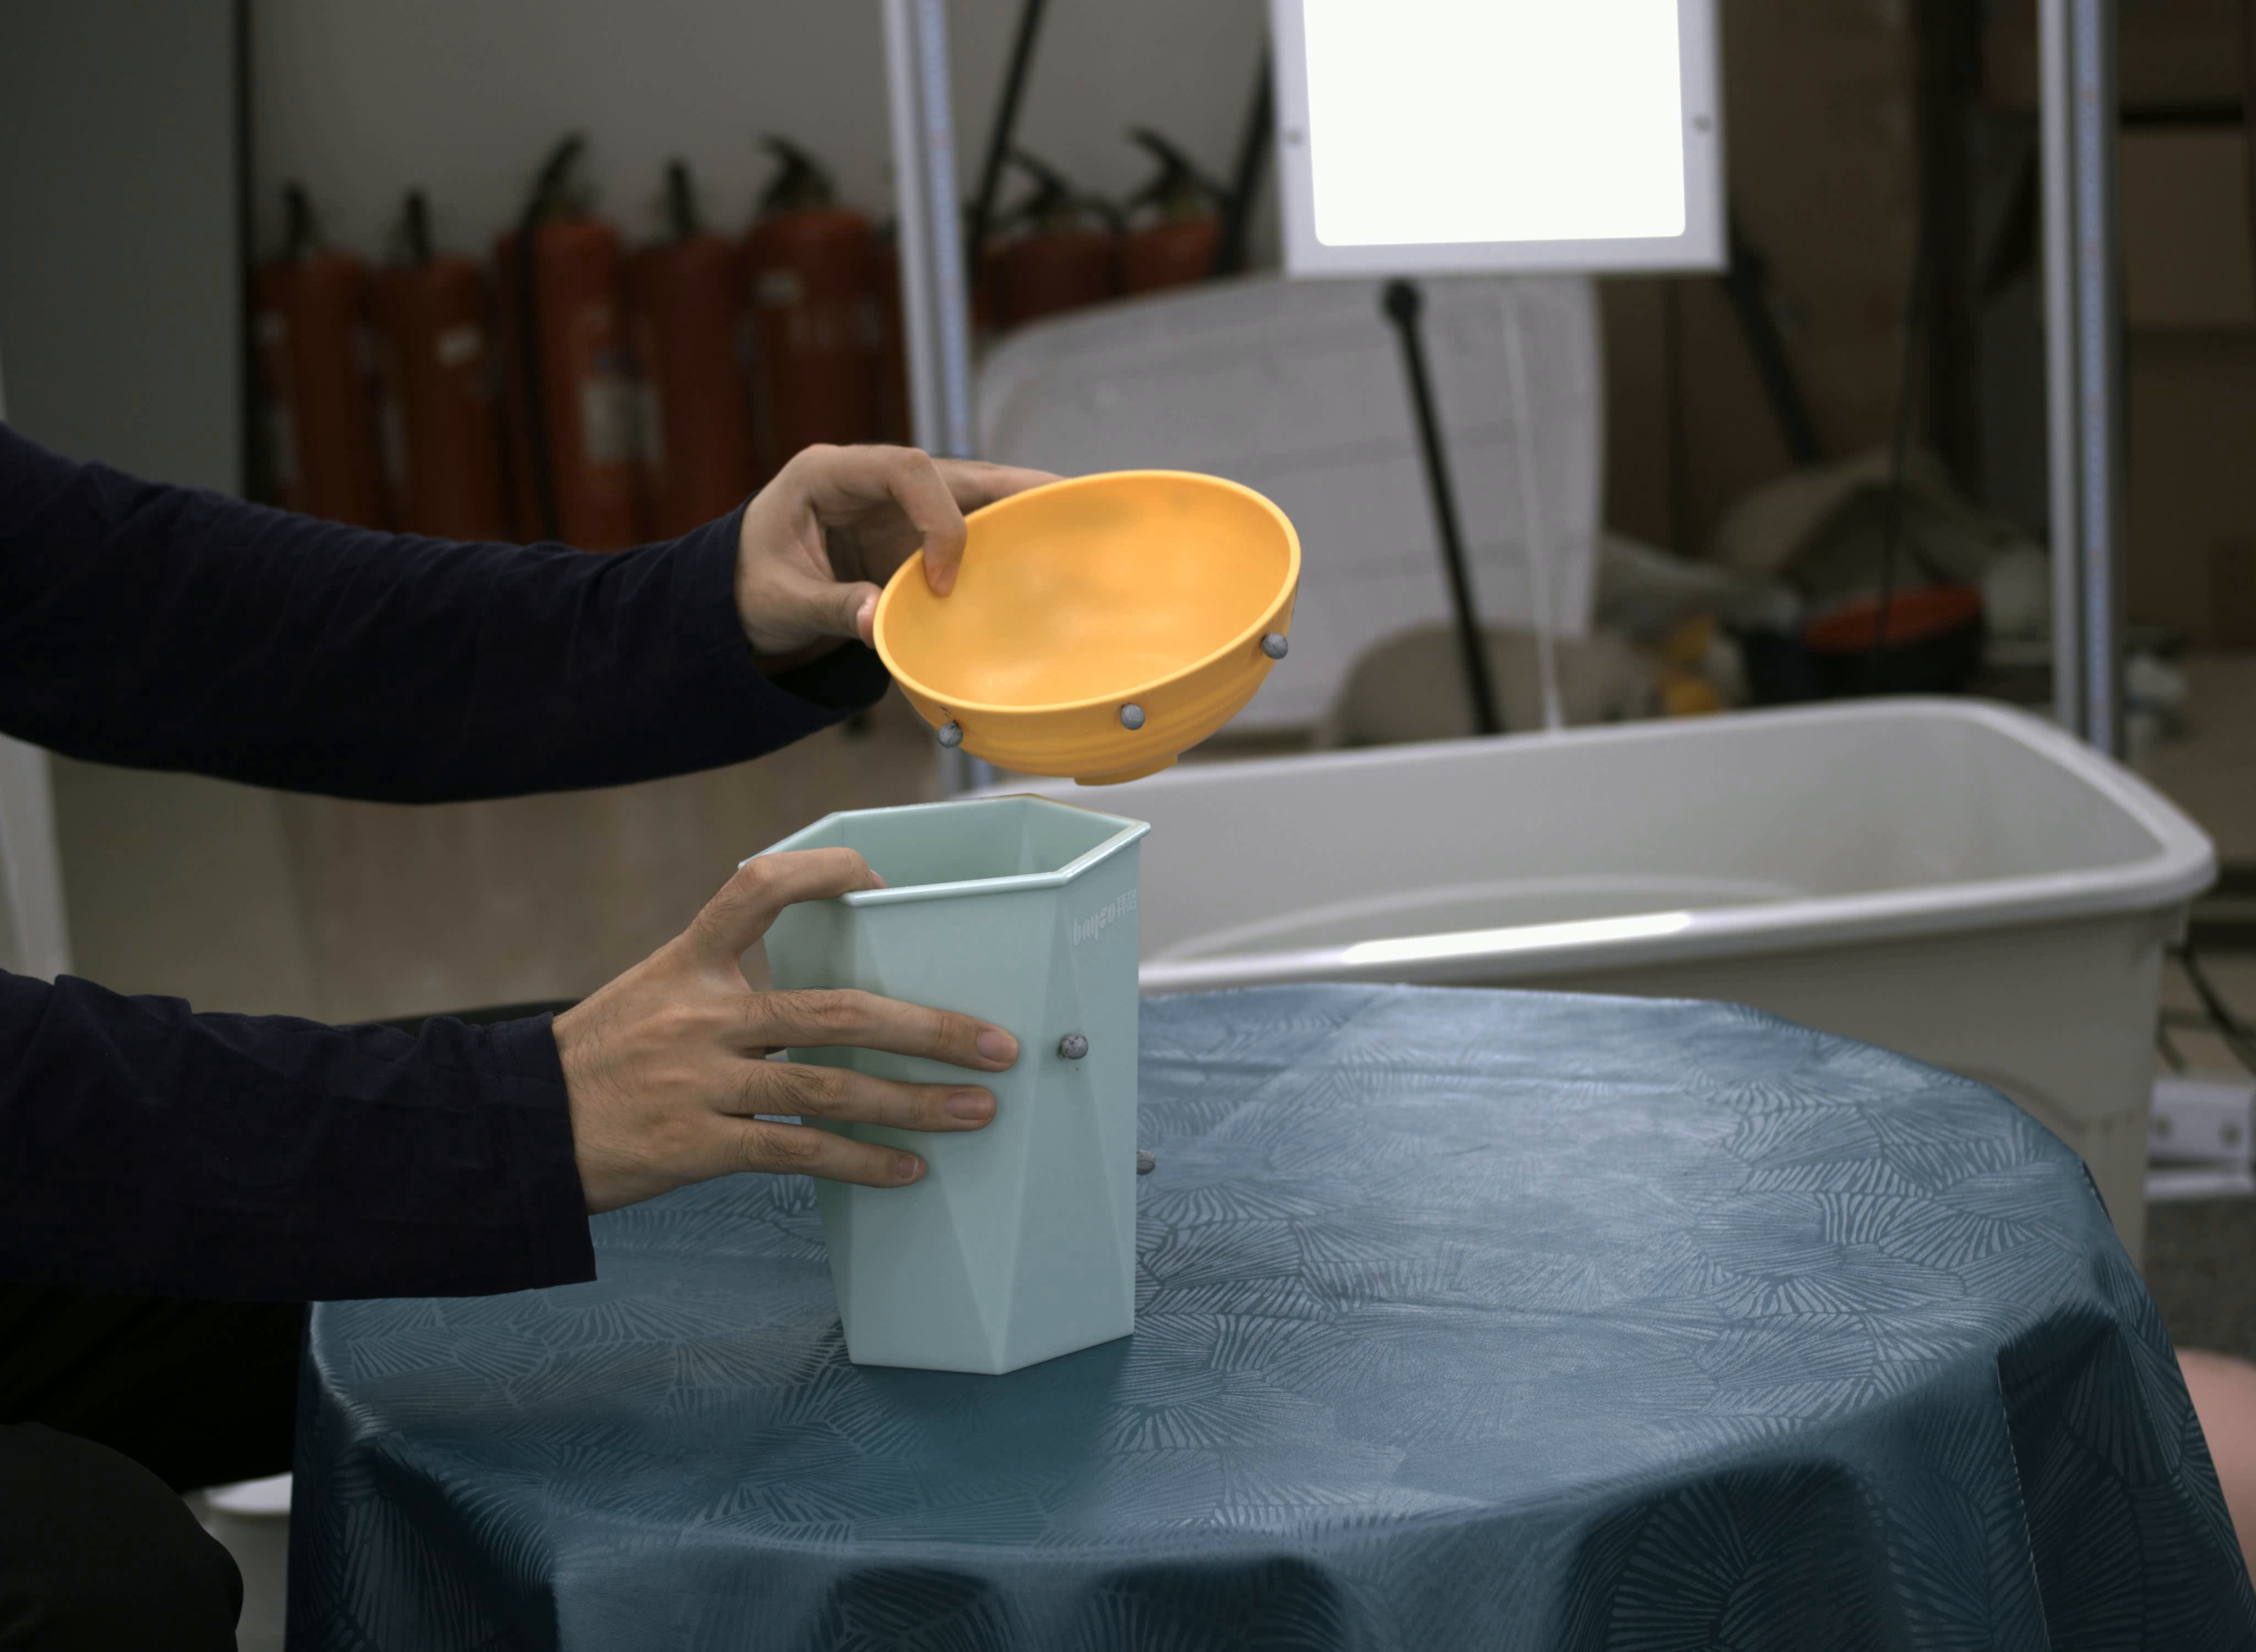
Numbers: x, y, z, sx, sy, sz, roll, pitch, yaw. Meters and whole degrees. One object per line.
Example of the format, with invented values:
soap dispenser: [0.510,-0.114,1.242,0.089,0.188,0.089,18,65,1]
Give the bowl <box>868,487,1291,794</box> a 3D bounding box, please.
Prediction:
bowl: [-0.010,-0.052,1.834,0.146,0.060,0.145,-13,31,6]

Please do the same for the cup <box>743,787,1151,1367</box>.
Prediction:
cup: [-0.050,0.080,1.757,0.117,0.163,0.128,2,15,25]
